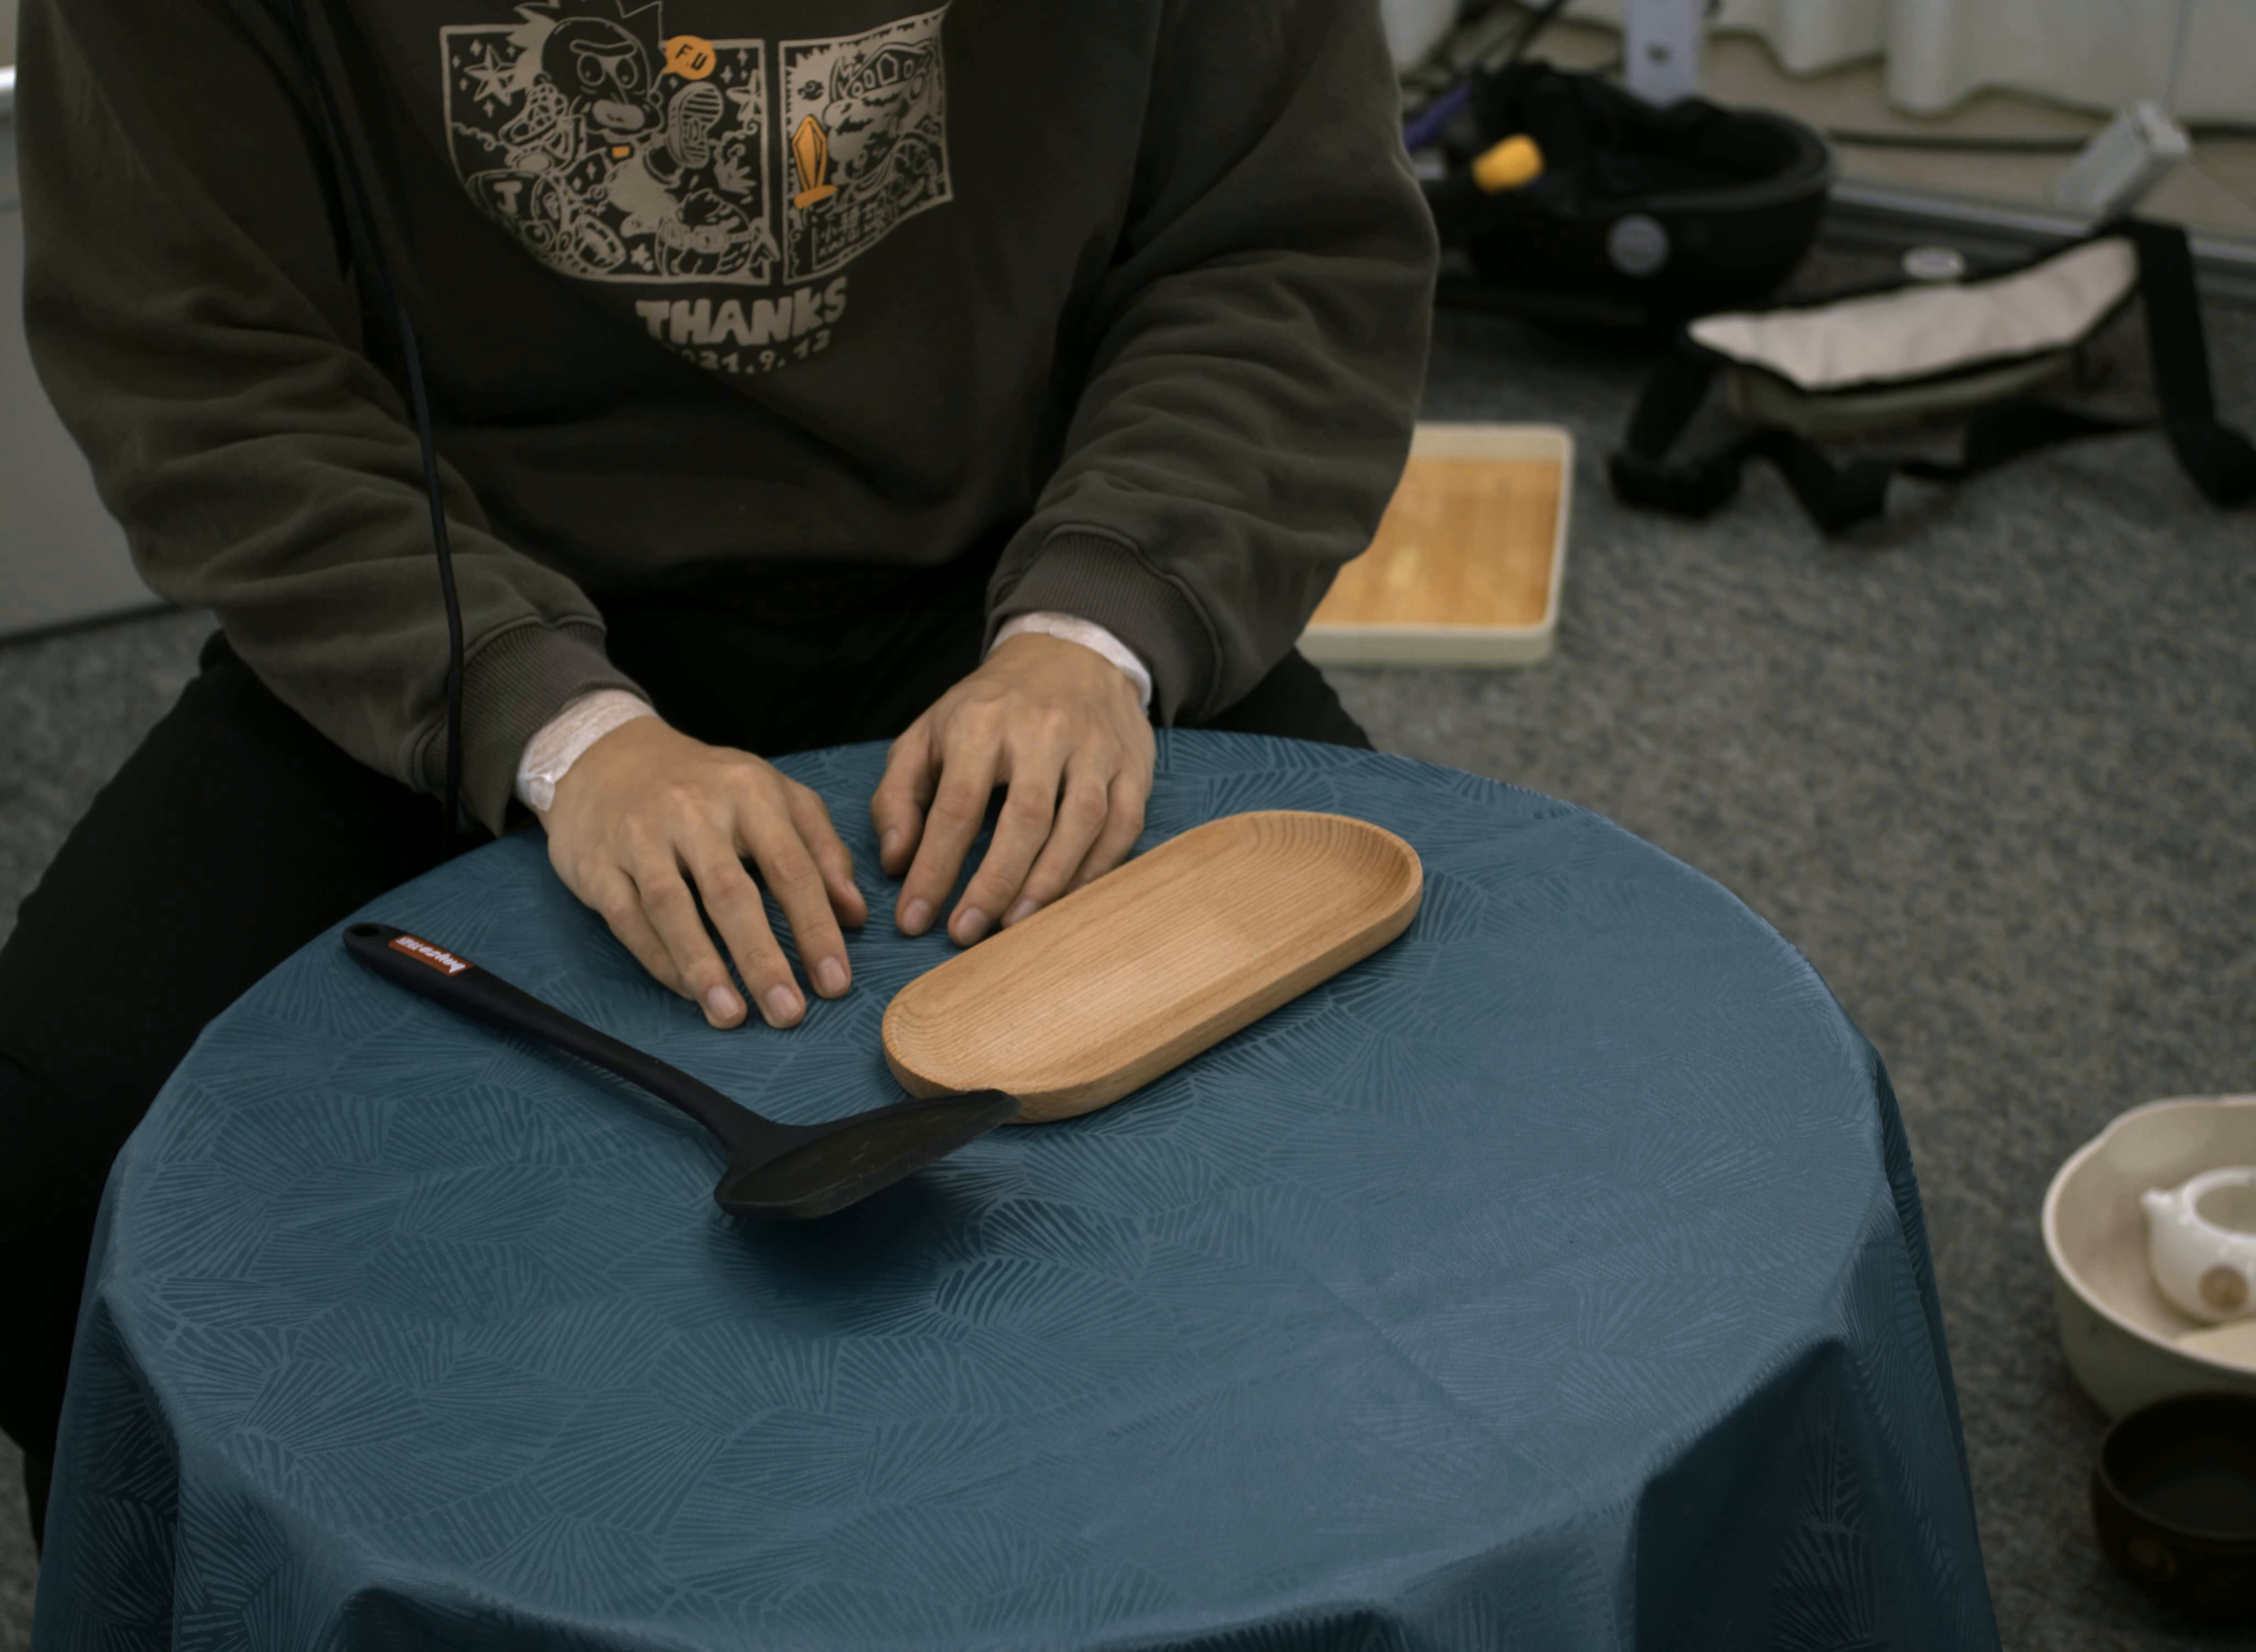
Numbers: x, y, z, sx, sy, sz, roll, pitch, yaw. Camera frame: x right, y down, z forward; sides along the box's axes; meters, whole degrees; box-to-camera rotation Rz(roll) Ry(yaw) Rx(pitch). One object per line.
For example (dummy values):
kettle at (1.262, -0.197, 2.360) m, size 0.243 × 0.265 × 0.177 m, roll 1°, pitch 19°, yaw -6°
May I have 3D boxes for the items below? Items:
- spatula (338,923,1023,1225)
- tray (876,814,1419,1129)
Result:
spatula at (-0.173, 0.076, 1.925) m, size 0.101 × 0.040 × 0.326 m, roll -24°, pitch 34°, yaw -37°
tray at (0.009, 0.050, 1.979) m, size 0.101 × 0.020 × 0.234 m, roll 21°, pitch 37°, yaw 39°
